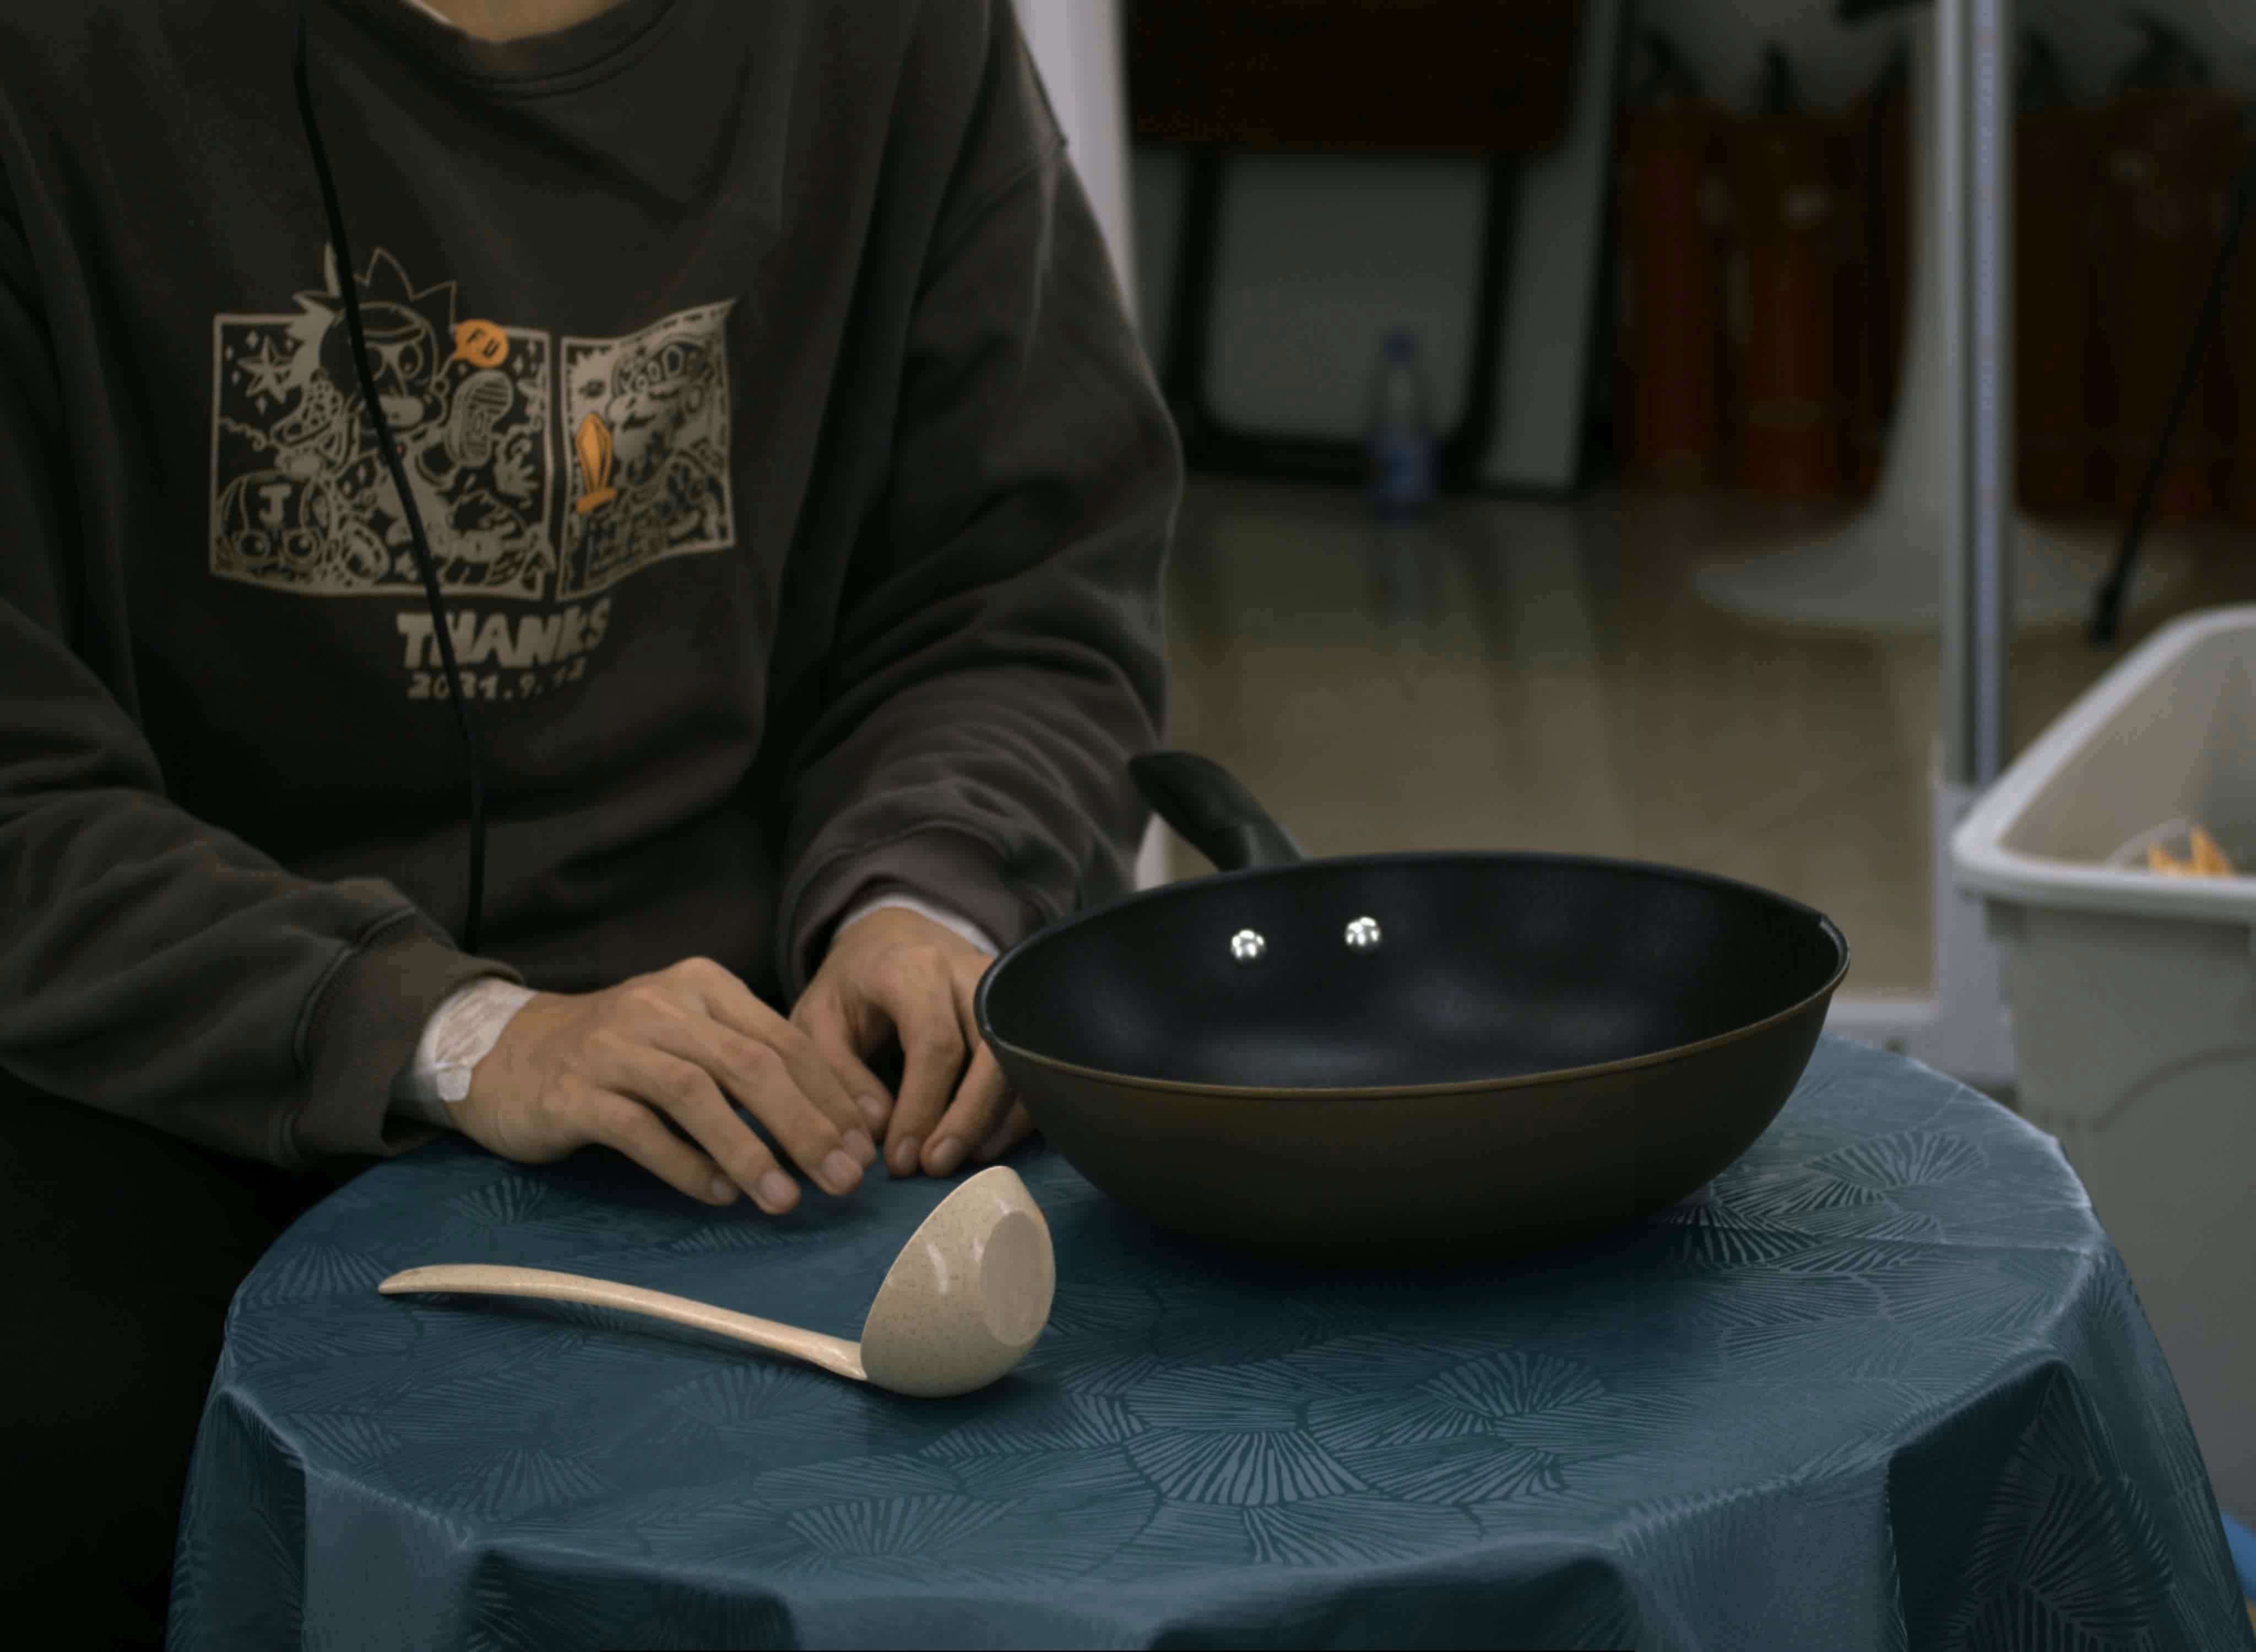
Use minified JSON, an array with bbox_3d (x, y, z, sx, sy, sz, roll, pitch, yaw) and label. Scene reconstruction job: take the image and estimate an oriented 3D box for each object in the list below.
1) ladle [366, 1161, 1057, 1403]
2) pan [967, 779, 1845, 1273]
[{"bbox_3d":[-0.136,0.126,1.642,0.255,0.073,0.071,5,21,32],"label":"ladle"},{"bbox_3d":[0.069,0.064,1.818,0.283,0.088,0.466,-7,13,-12],"label":"pan"}]
